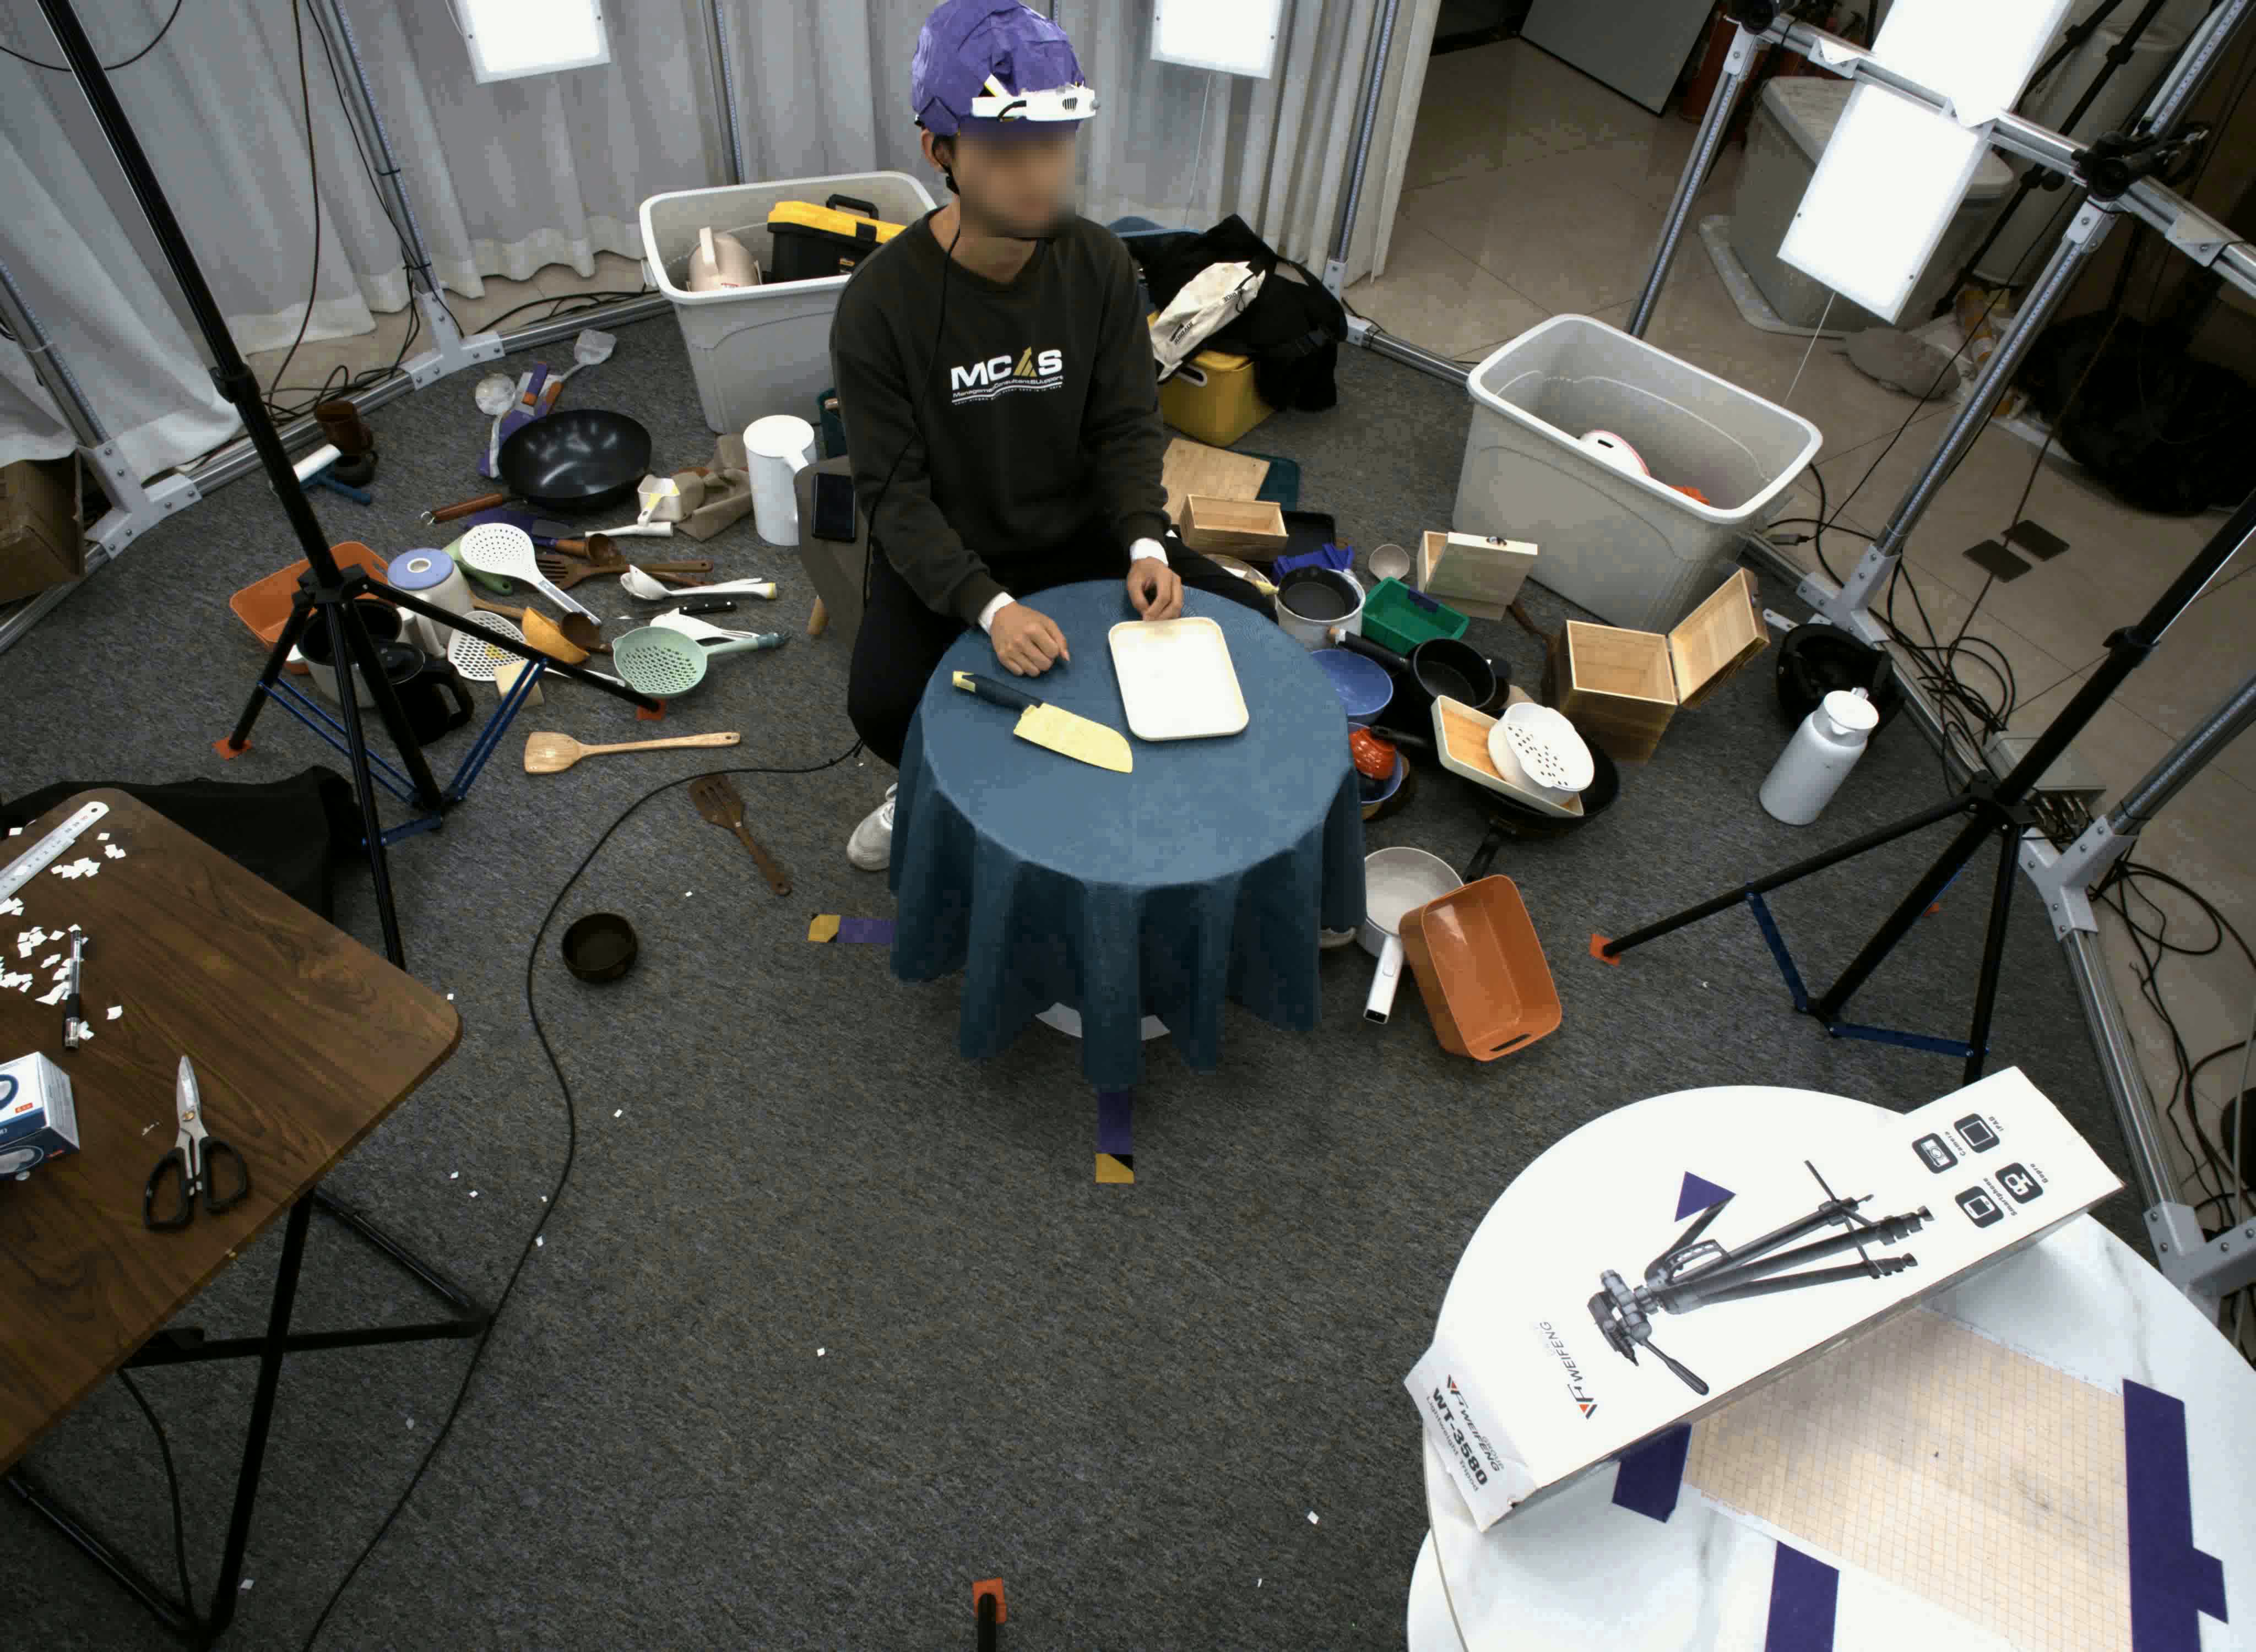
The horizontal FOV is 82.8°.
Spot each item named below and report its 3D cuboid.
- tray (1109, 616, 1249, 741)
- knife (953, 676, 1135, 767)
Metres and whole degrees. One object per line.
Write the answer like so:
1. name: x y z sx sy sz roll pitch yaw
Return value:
1. tray: 0.070 -0.213 1.845 0.171 0.017 0.246 -5 50 -8
2. knife: -0.121 -0.144 1.774 0.291 0.026 0.082 23 50 14
